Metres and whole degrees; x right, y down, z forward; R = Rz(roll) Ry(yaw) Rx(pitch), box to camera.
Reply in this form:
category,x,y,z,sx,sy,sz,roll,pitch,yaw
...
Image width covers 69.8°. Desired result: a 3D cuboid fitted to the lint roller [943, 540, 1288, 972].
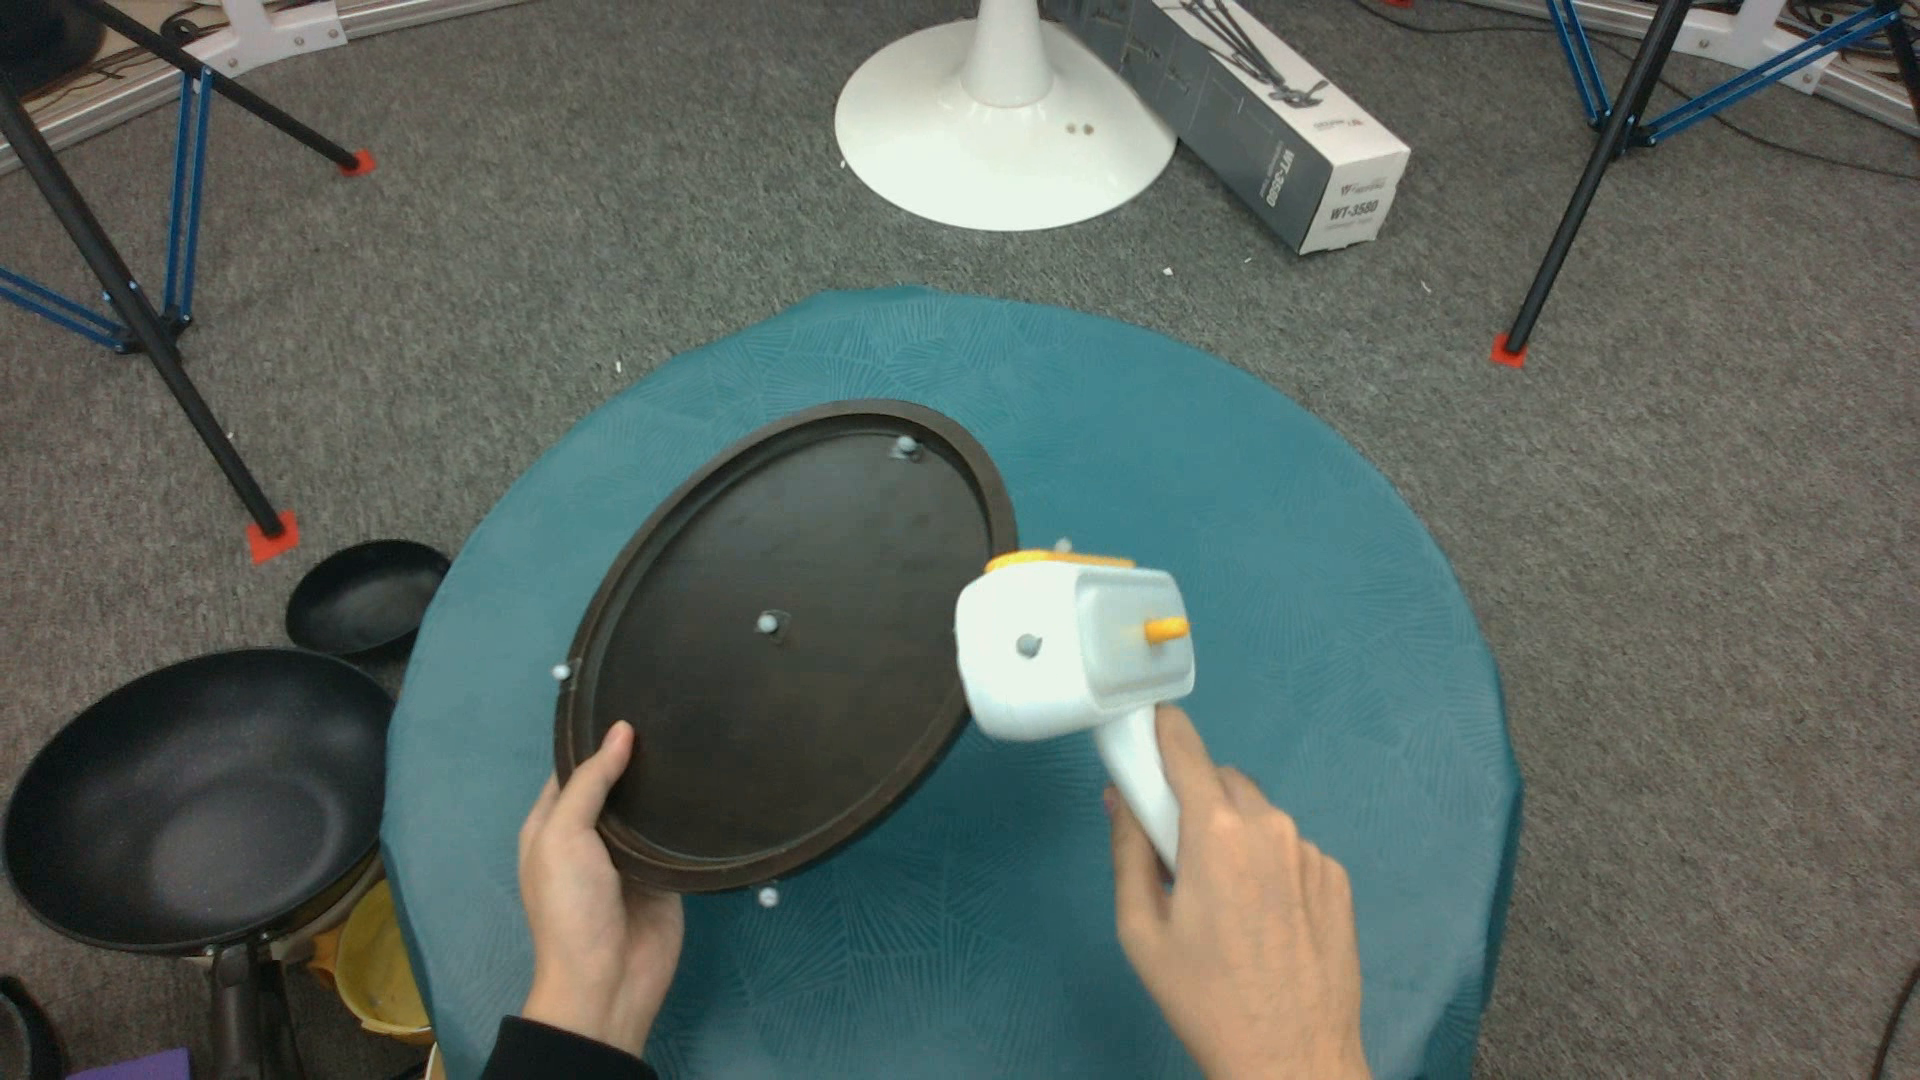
category,x,y,z,sx,sy,sz,roll,pitch,yaw
lint roller,0.073,0.090,0.569,0.074,0.193,0.192,-23,83,15

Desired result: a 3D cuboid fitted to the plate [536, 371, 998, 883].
category,x,y,z,sx,sy,sz,roll,pitch,yaw
plate,-0.093,0.035,0.639,0.254,0.029,0.256,-17,54,25
